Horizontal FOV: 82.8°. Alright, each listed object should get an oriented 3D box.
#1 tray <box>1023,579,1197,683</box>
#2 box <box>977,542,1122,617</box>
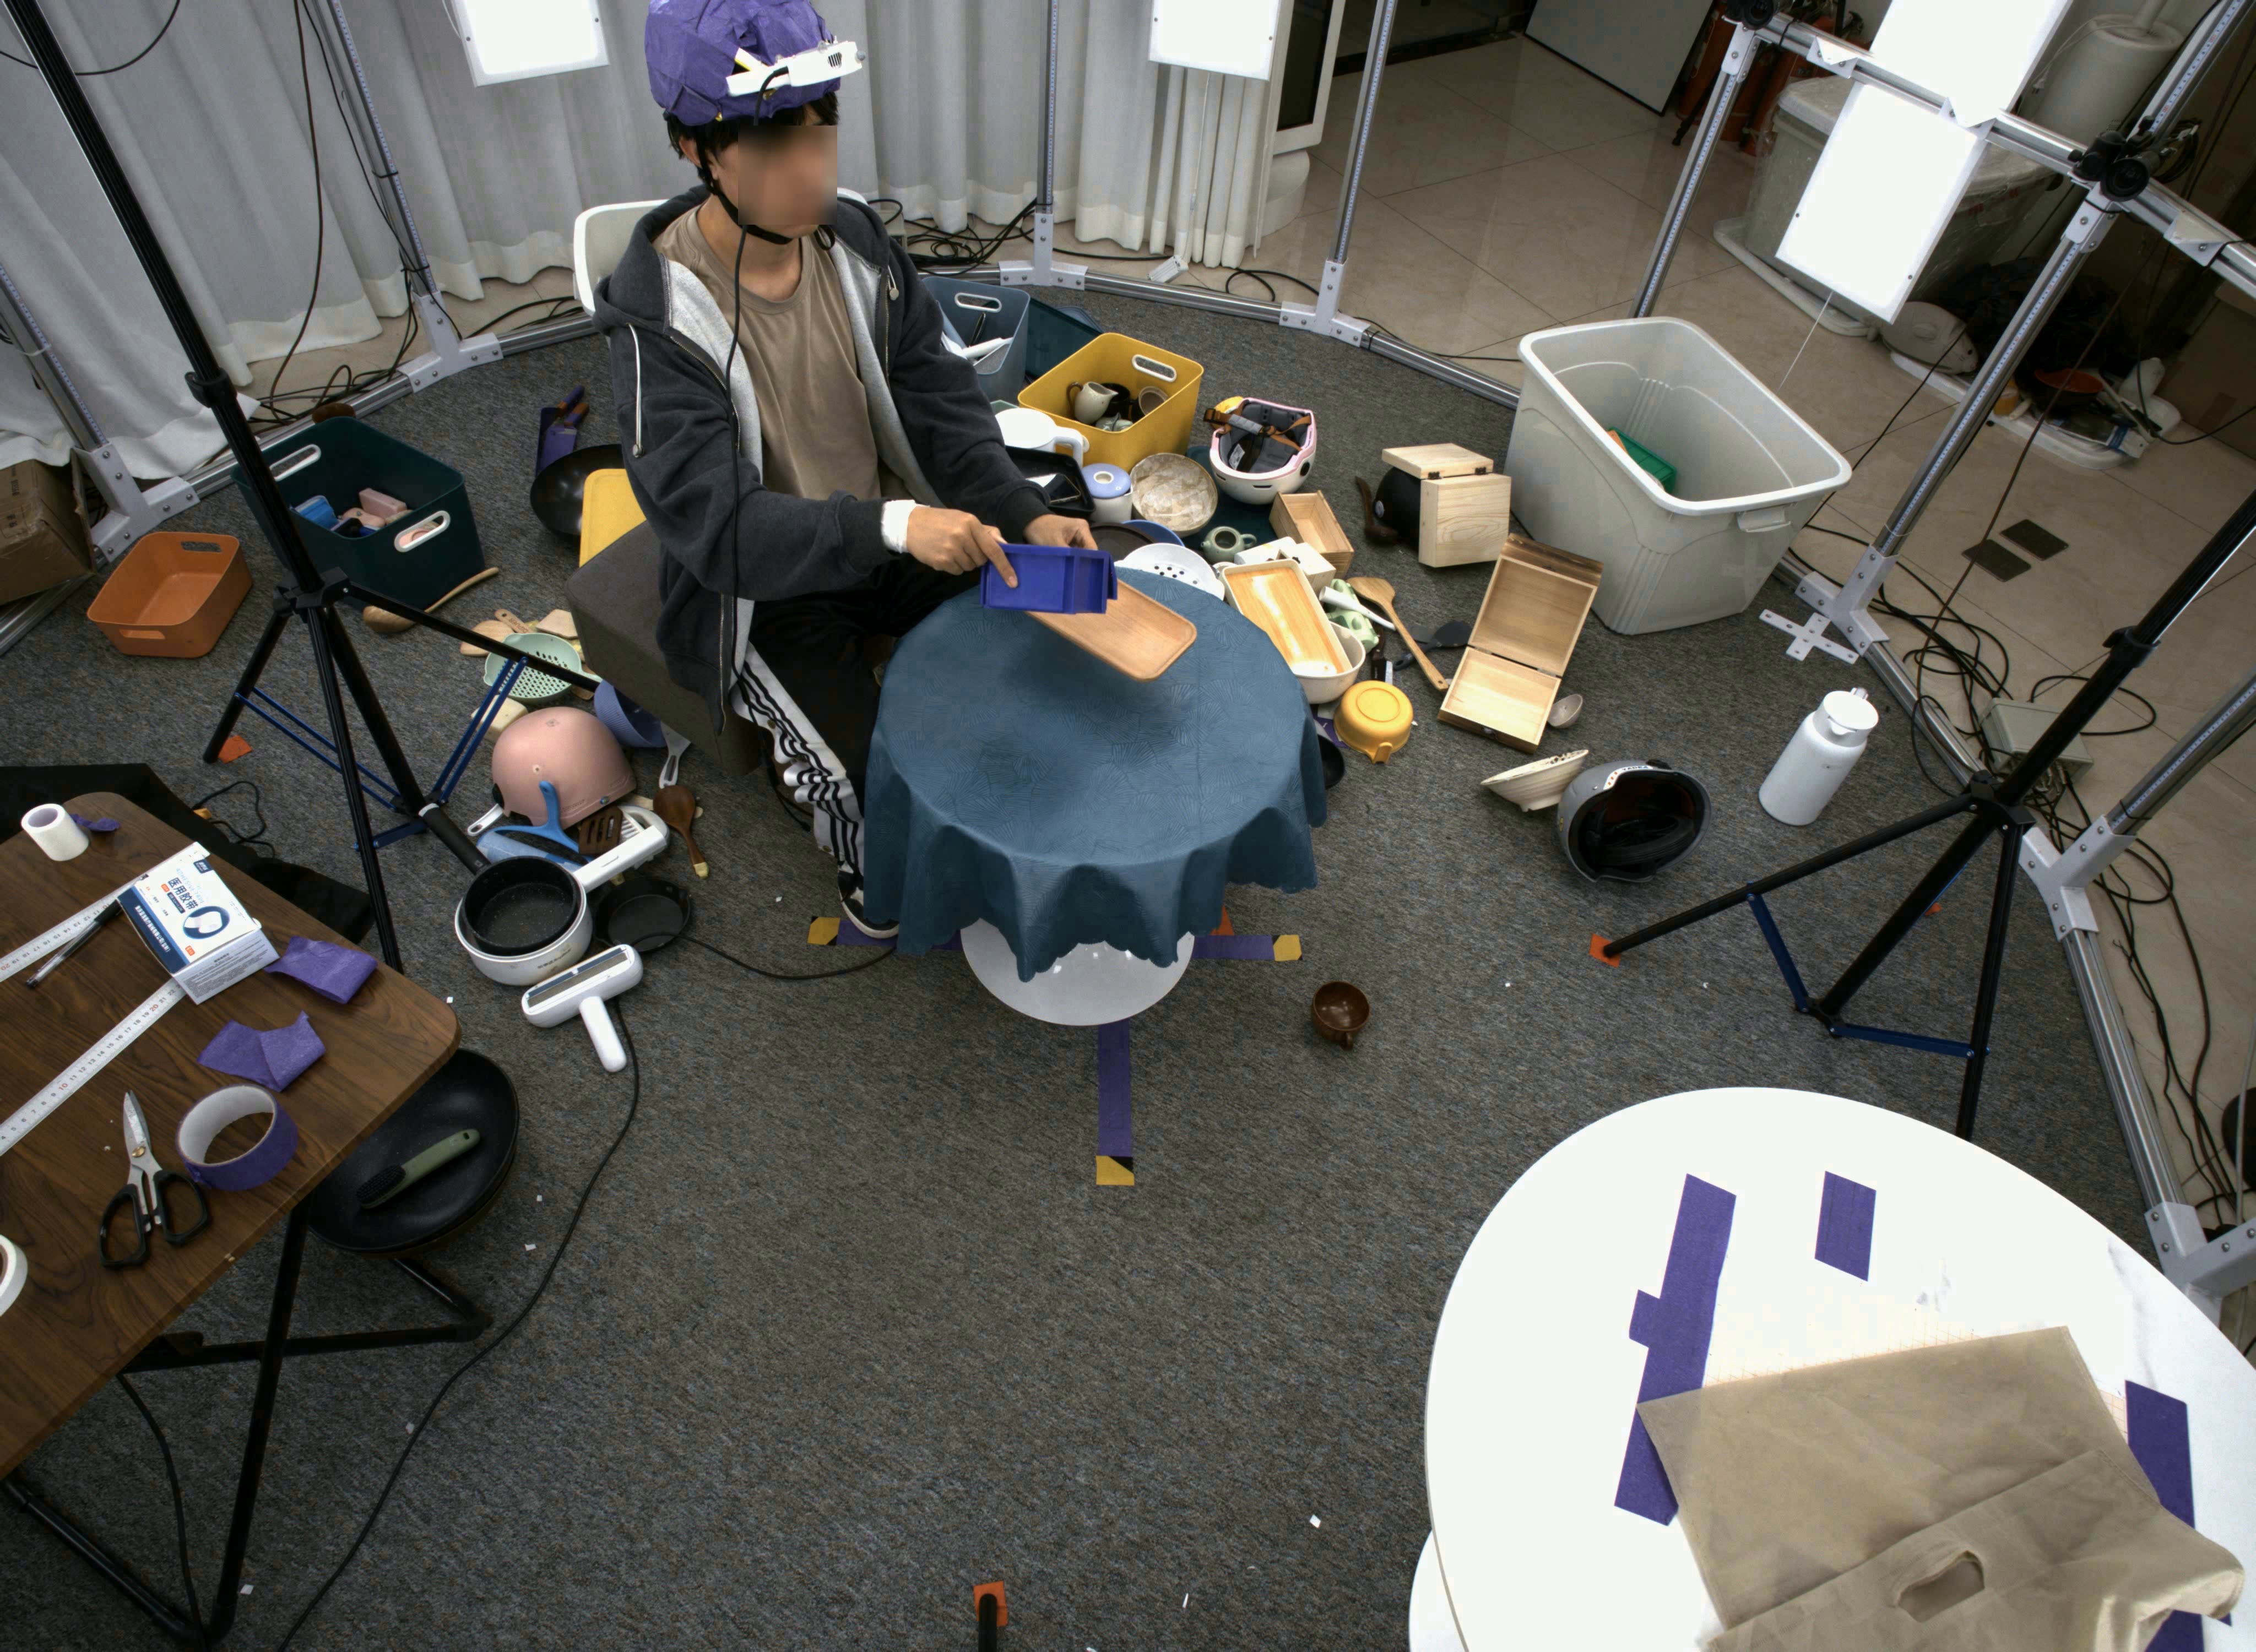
[{"bbox_3d":[-0.030,-0.291,1.794,0.254,0.022,0.132,34,60,23],"label":"tray"},{"bbox_3d":[-0.098,-0.316,1.634,0.125,0.081,0.180,8,16,21],"label":"box"}]
